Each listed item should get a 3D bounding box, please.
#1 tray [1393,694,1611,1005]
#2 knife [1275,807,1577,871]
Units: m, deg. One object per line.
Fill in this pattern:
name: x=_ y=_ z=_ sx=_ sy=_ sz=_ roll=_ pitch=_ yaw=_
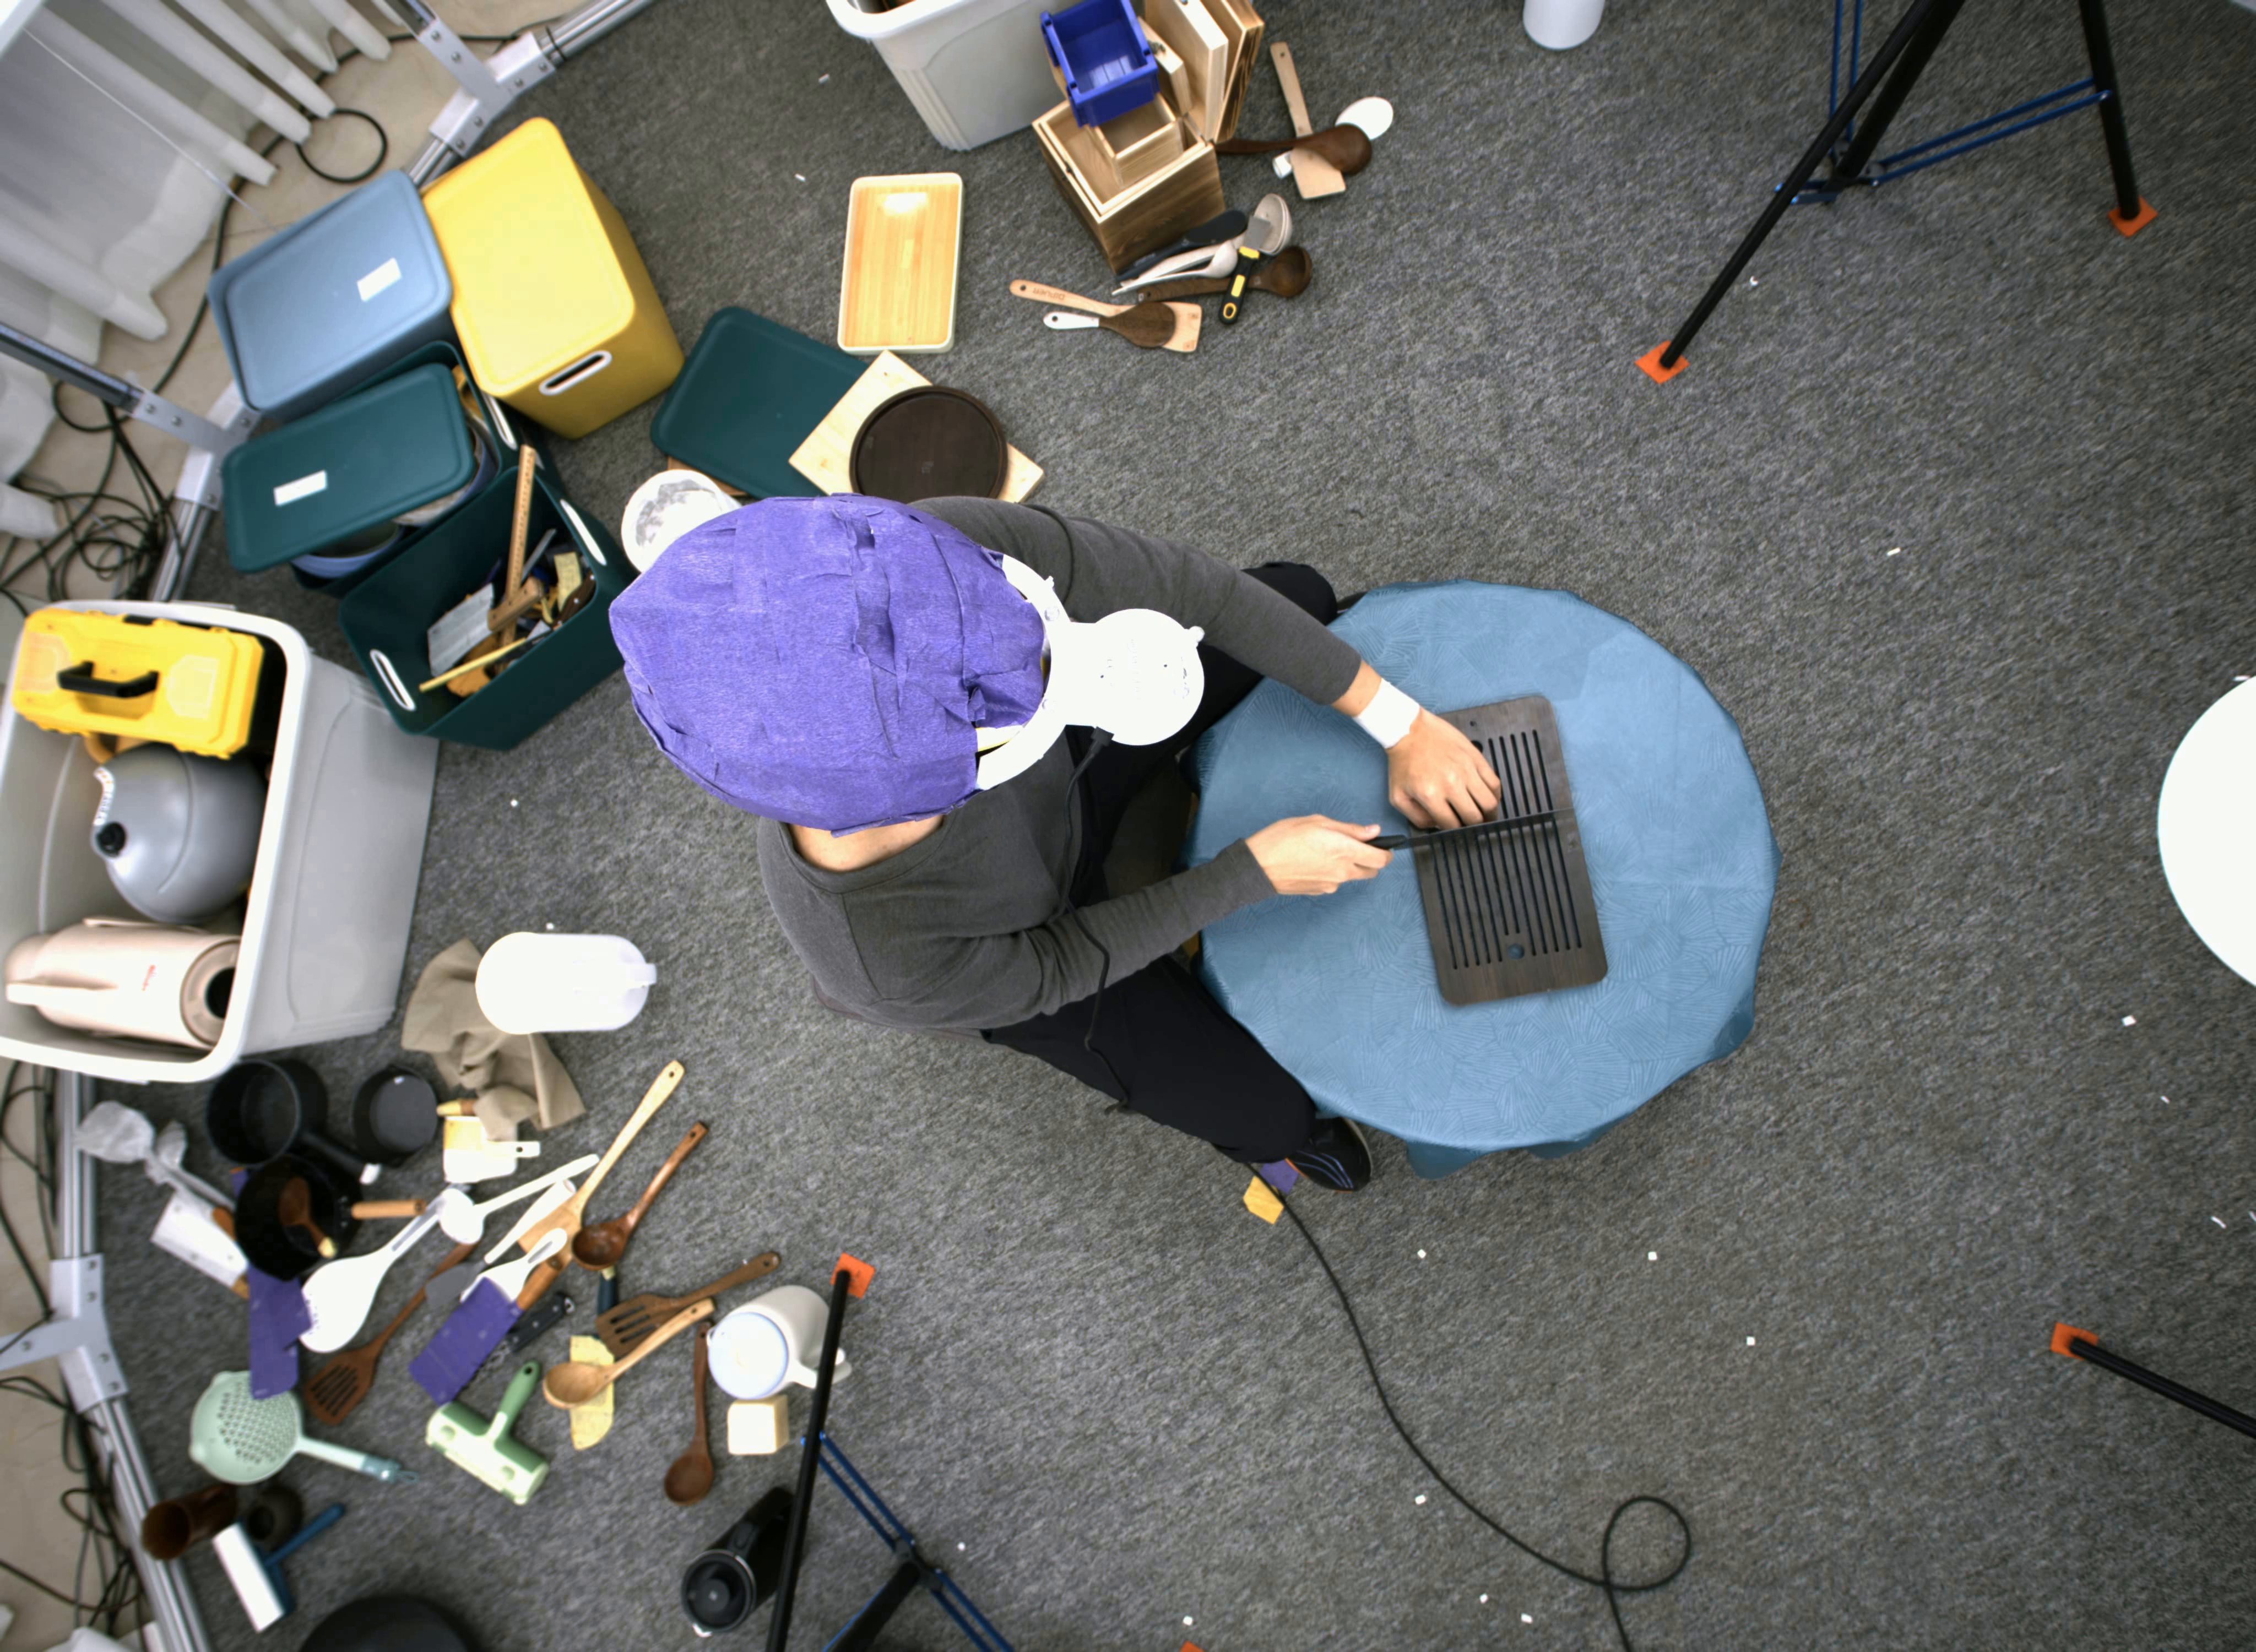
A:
tray: x=0.387 y=0.022 z=1.431 sx=0.171 sy=0.018 sz=0.304 roll=-11 pitch=84 yaw=11
knife: x=0.297 y=0.011 z=1.380 sx=0.303 sy=0.081 sz=0.020 roll=-10 pitch=77 yaw=5
